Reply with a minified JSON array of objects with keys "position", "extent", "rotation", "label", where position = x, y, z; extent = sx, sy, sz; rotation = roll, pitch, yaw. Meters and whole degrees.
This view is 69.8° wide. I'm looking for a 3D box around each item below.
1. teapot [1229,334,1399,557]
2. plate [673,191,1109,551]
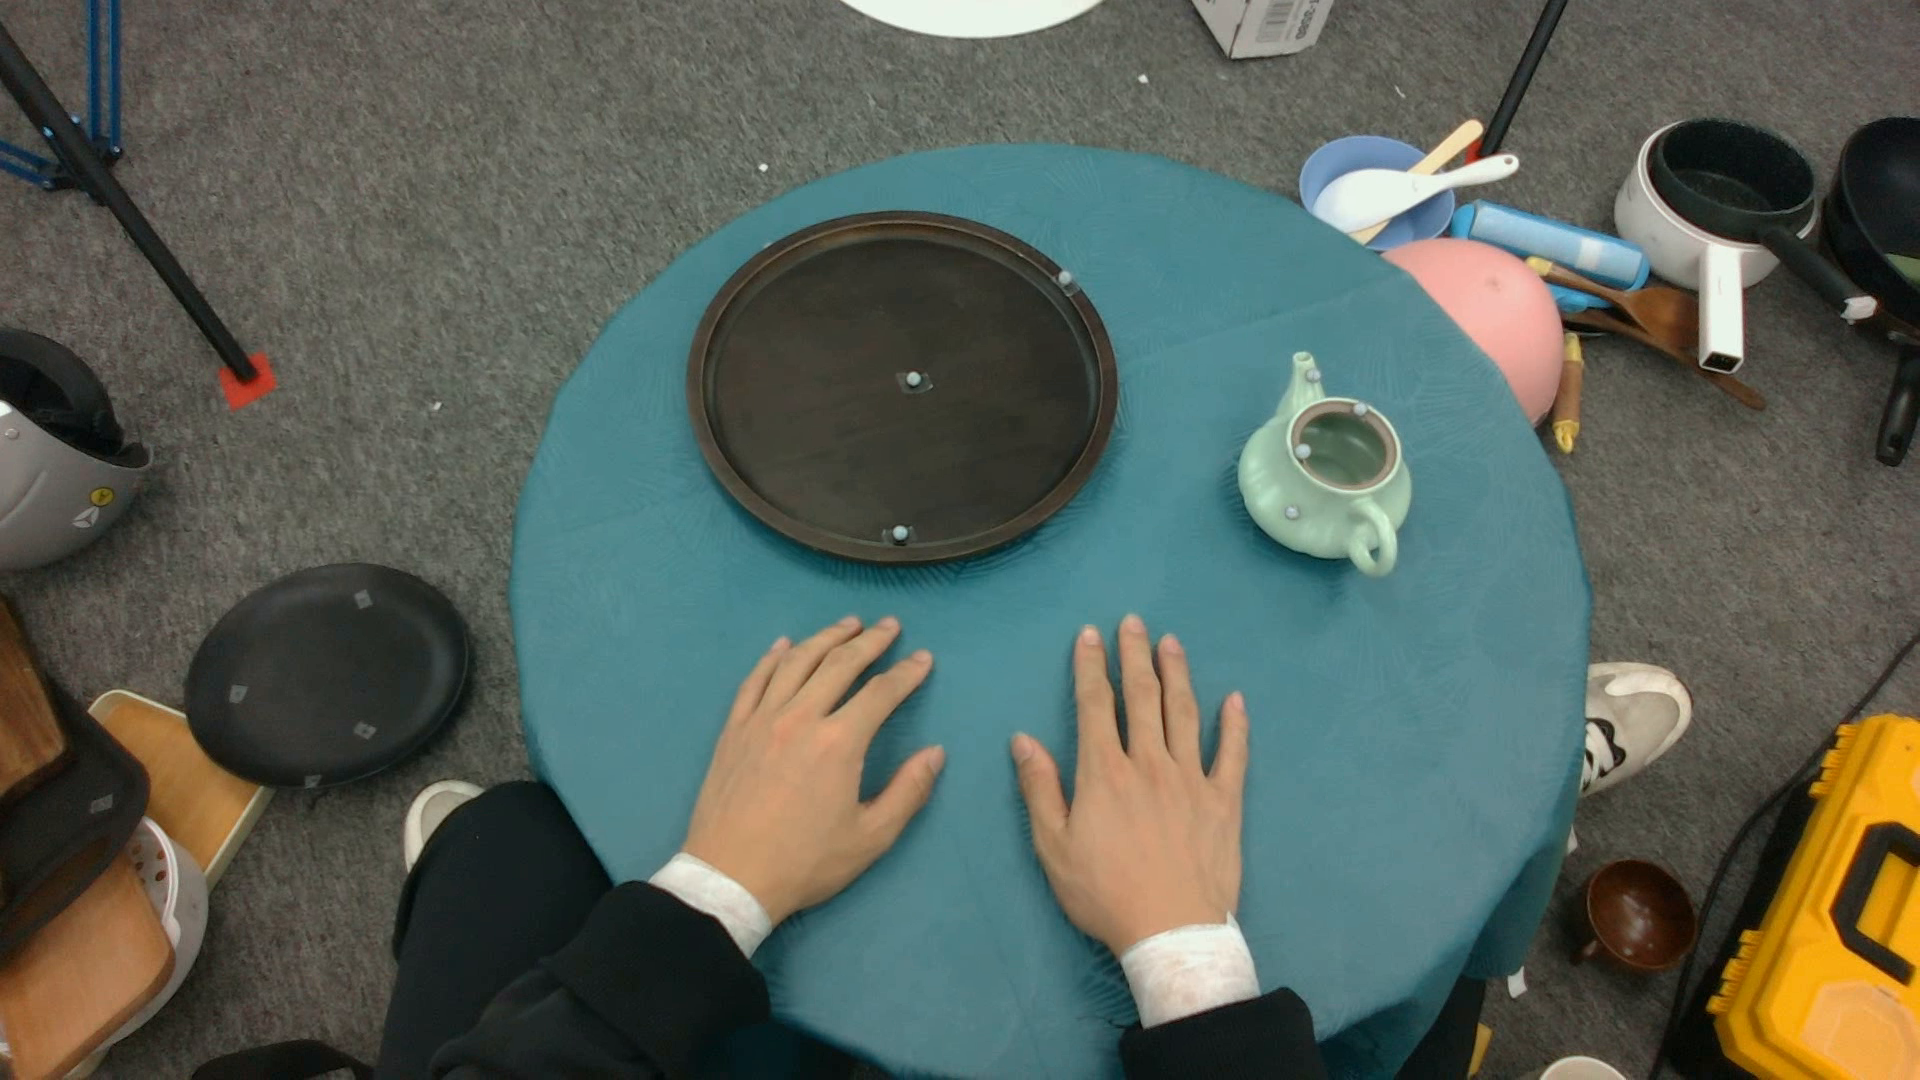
[{"position":[0.203,-0.046,0.767],"extent":[0.096,0.061,0.137],"rotation":[-14,62,-12],"label":"teapot"},{"position":[-0.039,-0.103,0.807],"extent":[0.255,0.029,0.256],"rotation":[2,60,-3],"label":"plate"}]
